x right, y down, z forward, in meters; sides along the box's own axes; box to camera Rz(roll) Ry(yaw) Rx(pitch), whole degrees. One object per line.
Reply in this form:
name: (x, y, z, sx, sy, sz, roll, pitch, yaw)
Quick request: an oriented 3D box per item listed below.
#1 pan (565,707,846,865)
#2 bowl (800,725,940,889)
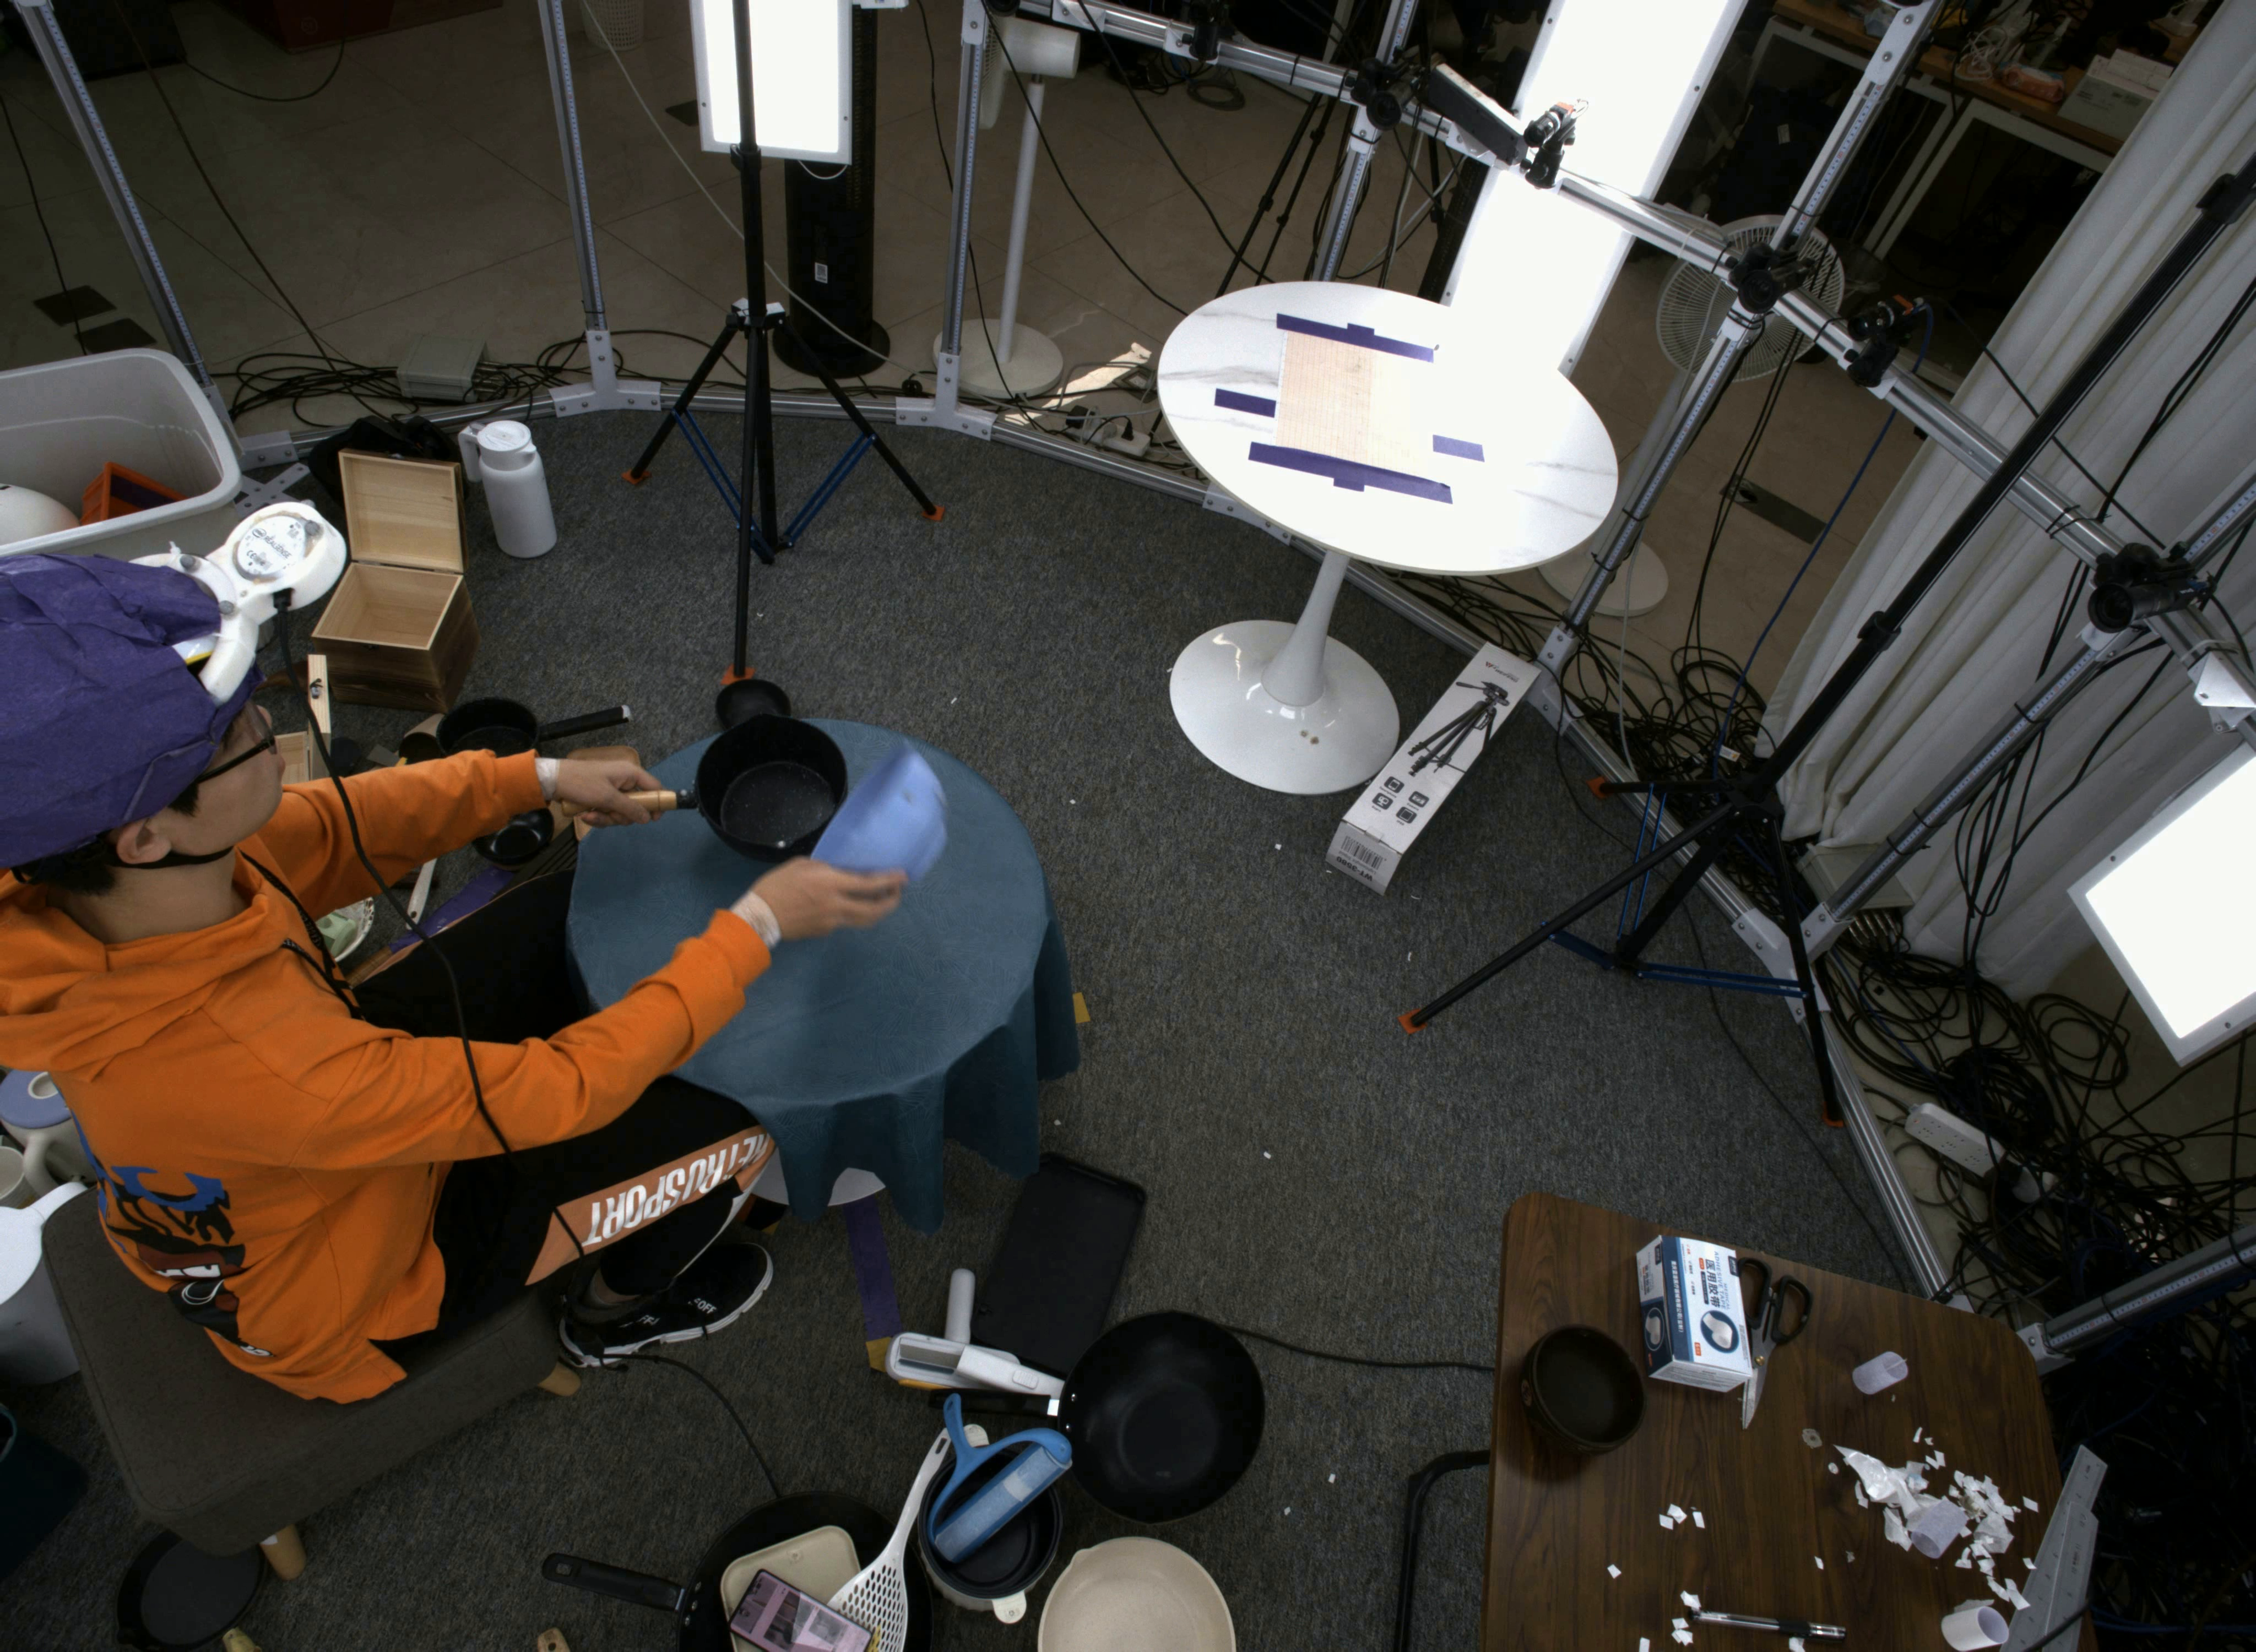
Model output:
pan: (-0.517, -0.030, 1.581, 0.343, 0.110, 0.204, -11, 65, -18)
bowl: (-0.277, -0.006, 1.467, 0.097, 0.195, 0.194, 35, 48, -18)
